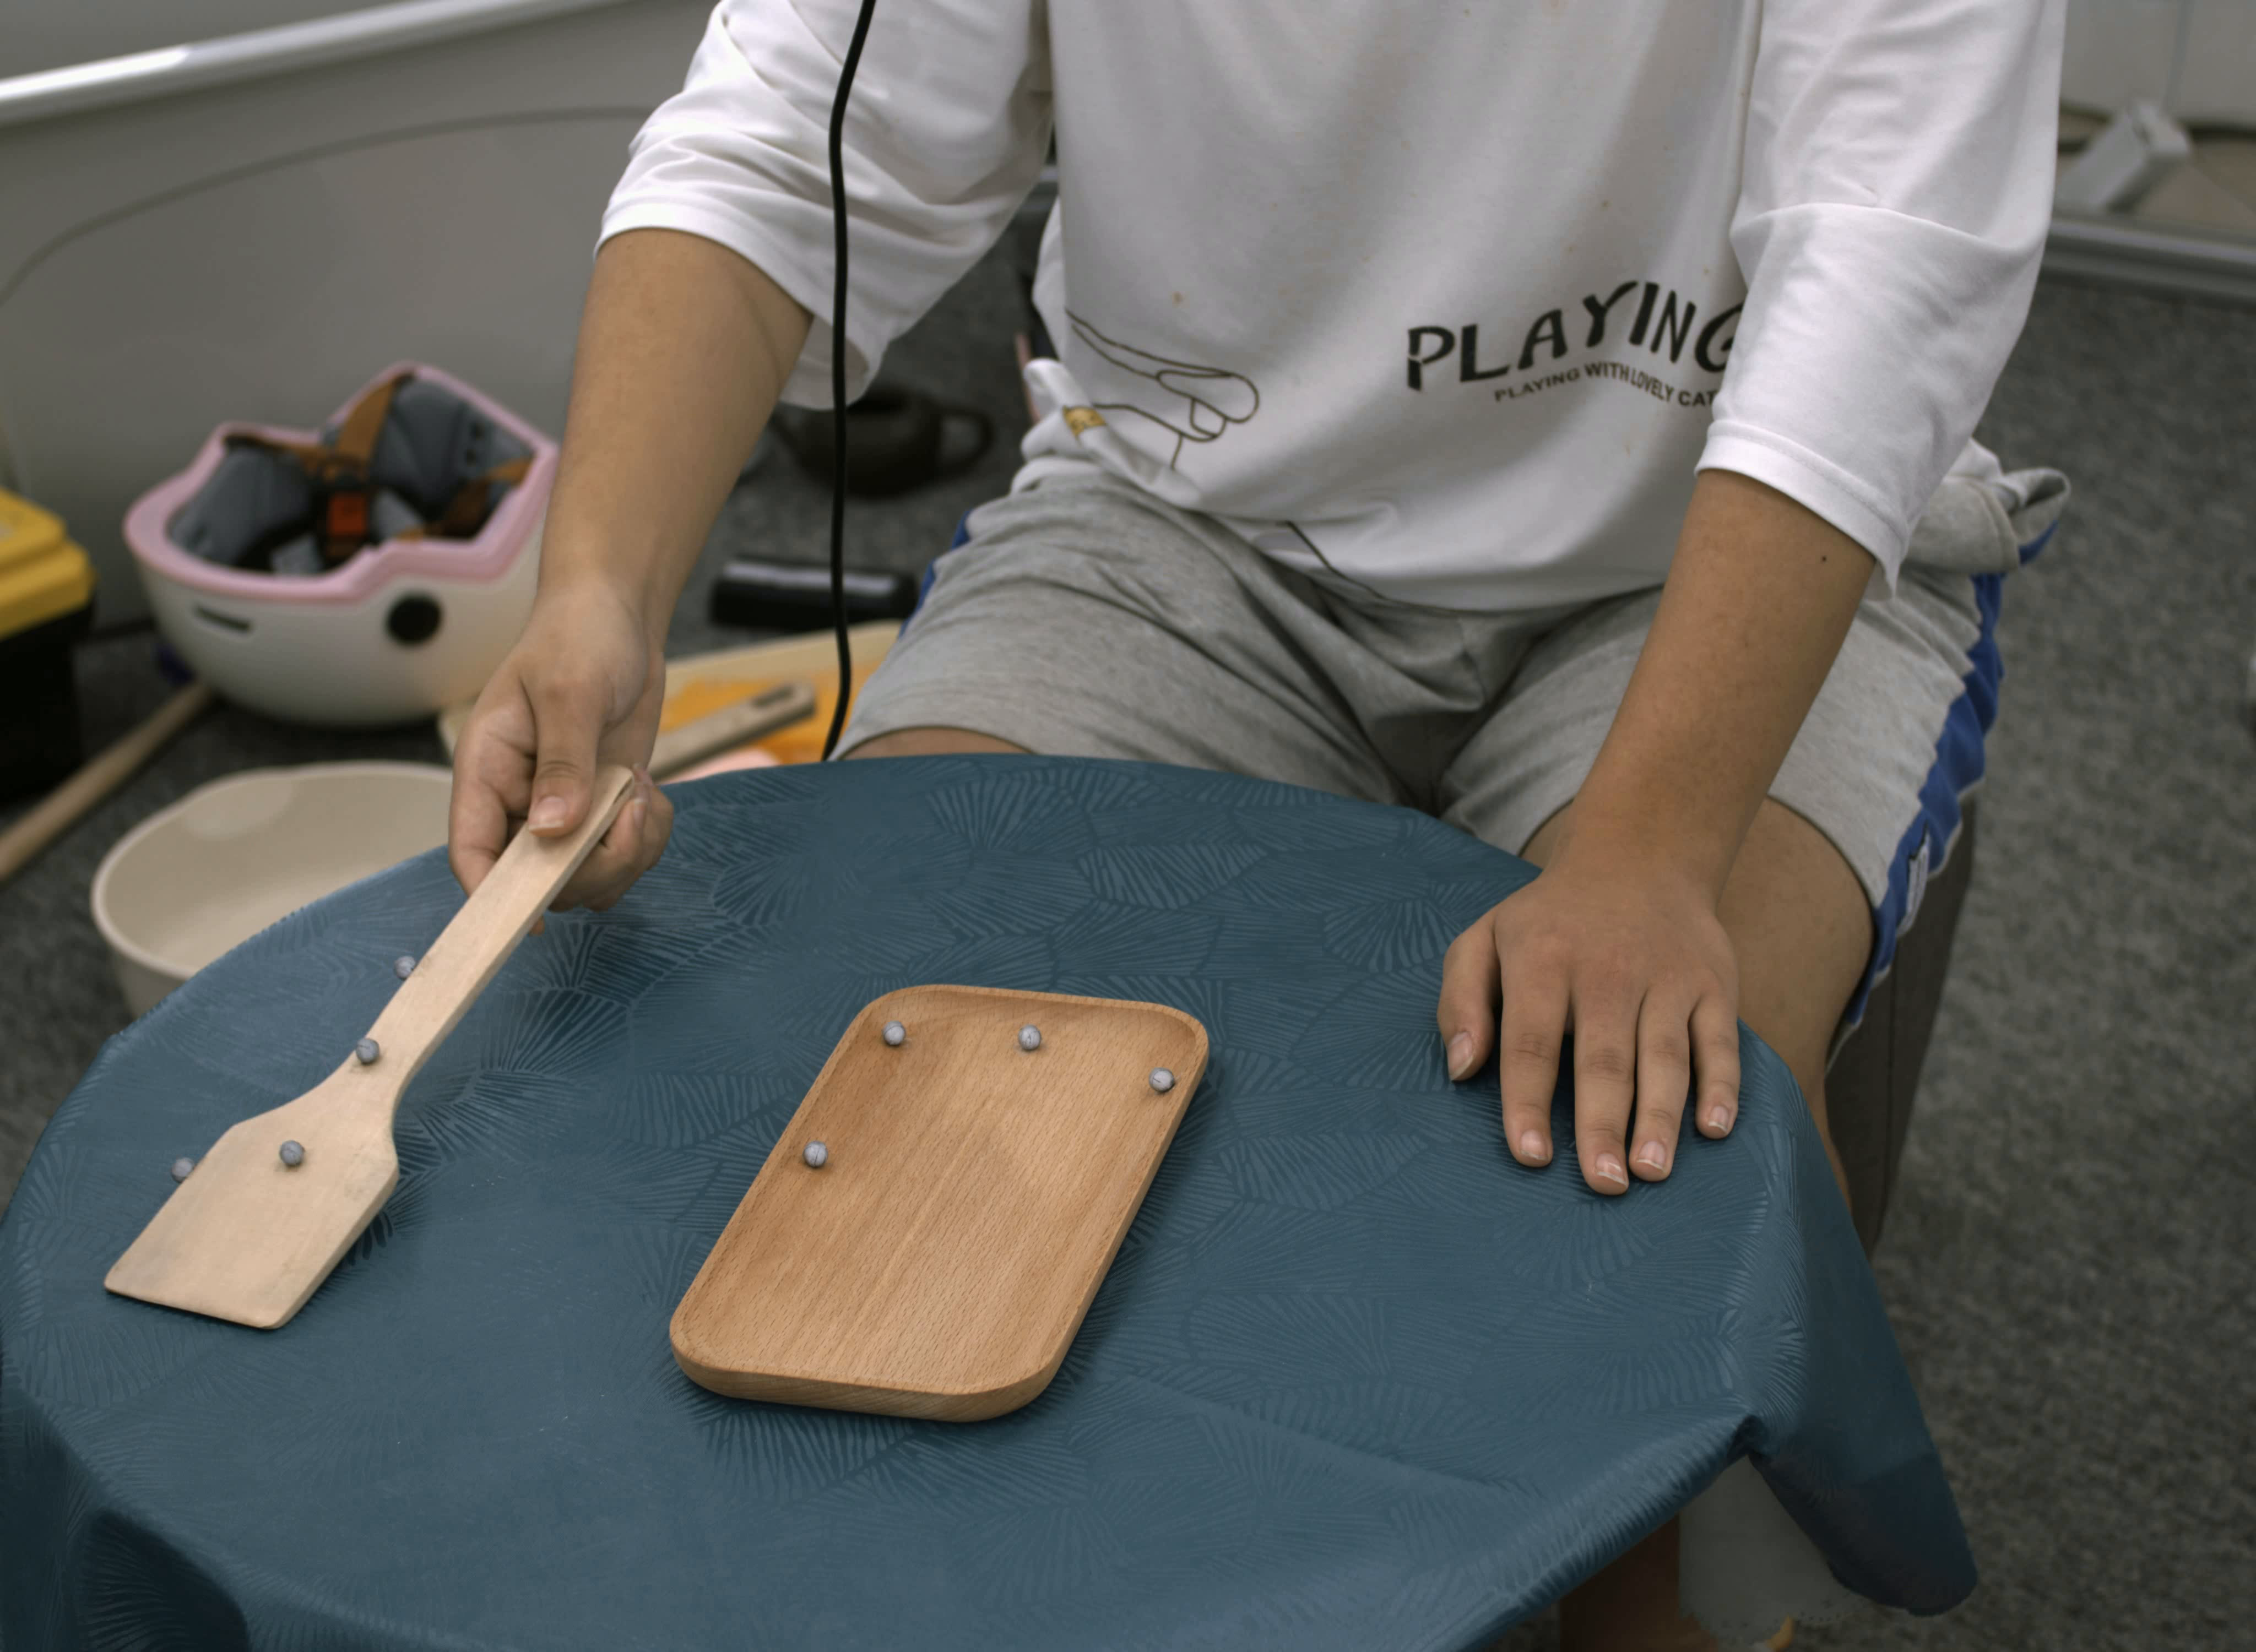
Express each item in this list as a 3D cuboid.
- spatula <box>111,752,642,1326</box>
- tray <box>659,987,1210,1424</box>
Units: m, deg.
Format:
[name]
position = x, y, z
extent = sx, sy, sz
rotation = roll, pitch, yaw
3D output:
[spatula]
position = -0.244, 0.067, 1.922
extent = 0.072, 0.010, 0.299
rotation = 10, 42, 23
[tray]
position = -0.060, 0.122, 1.851
extent = 0.129, 0.022, 0.255
rotation = 3, 28, 16
